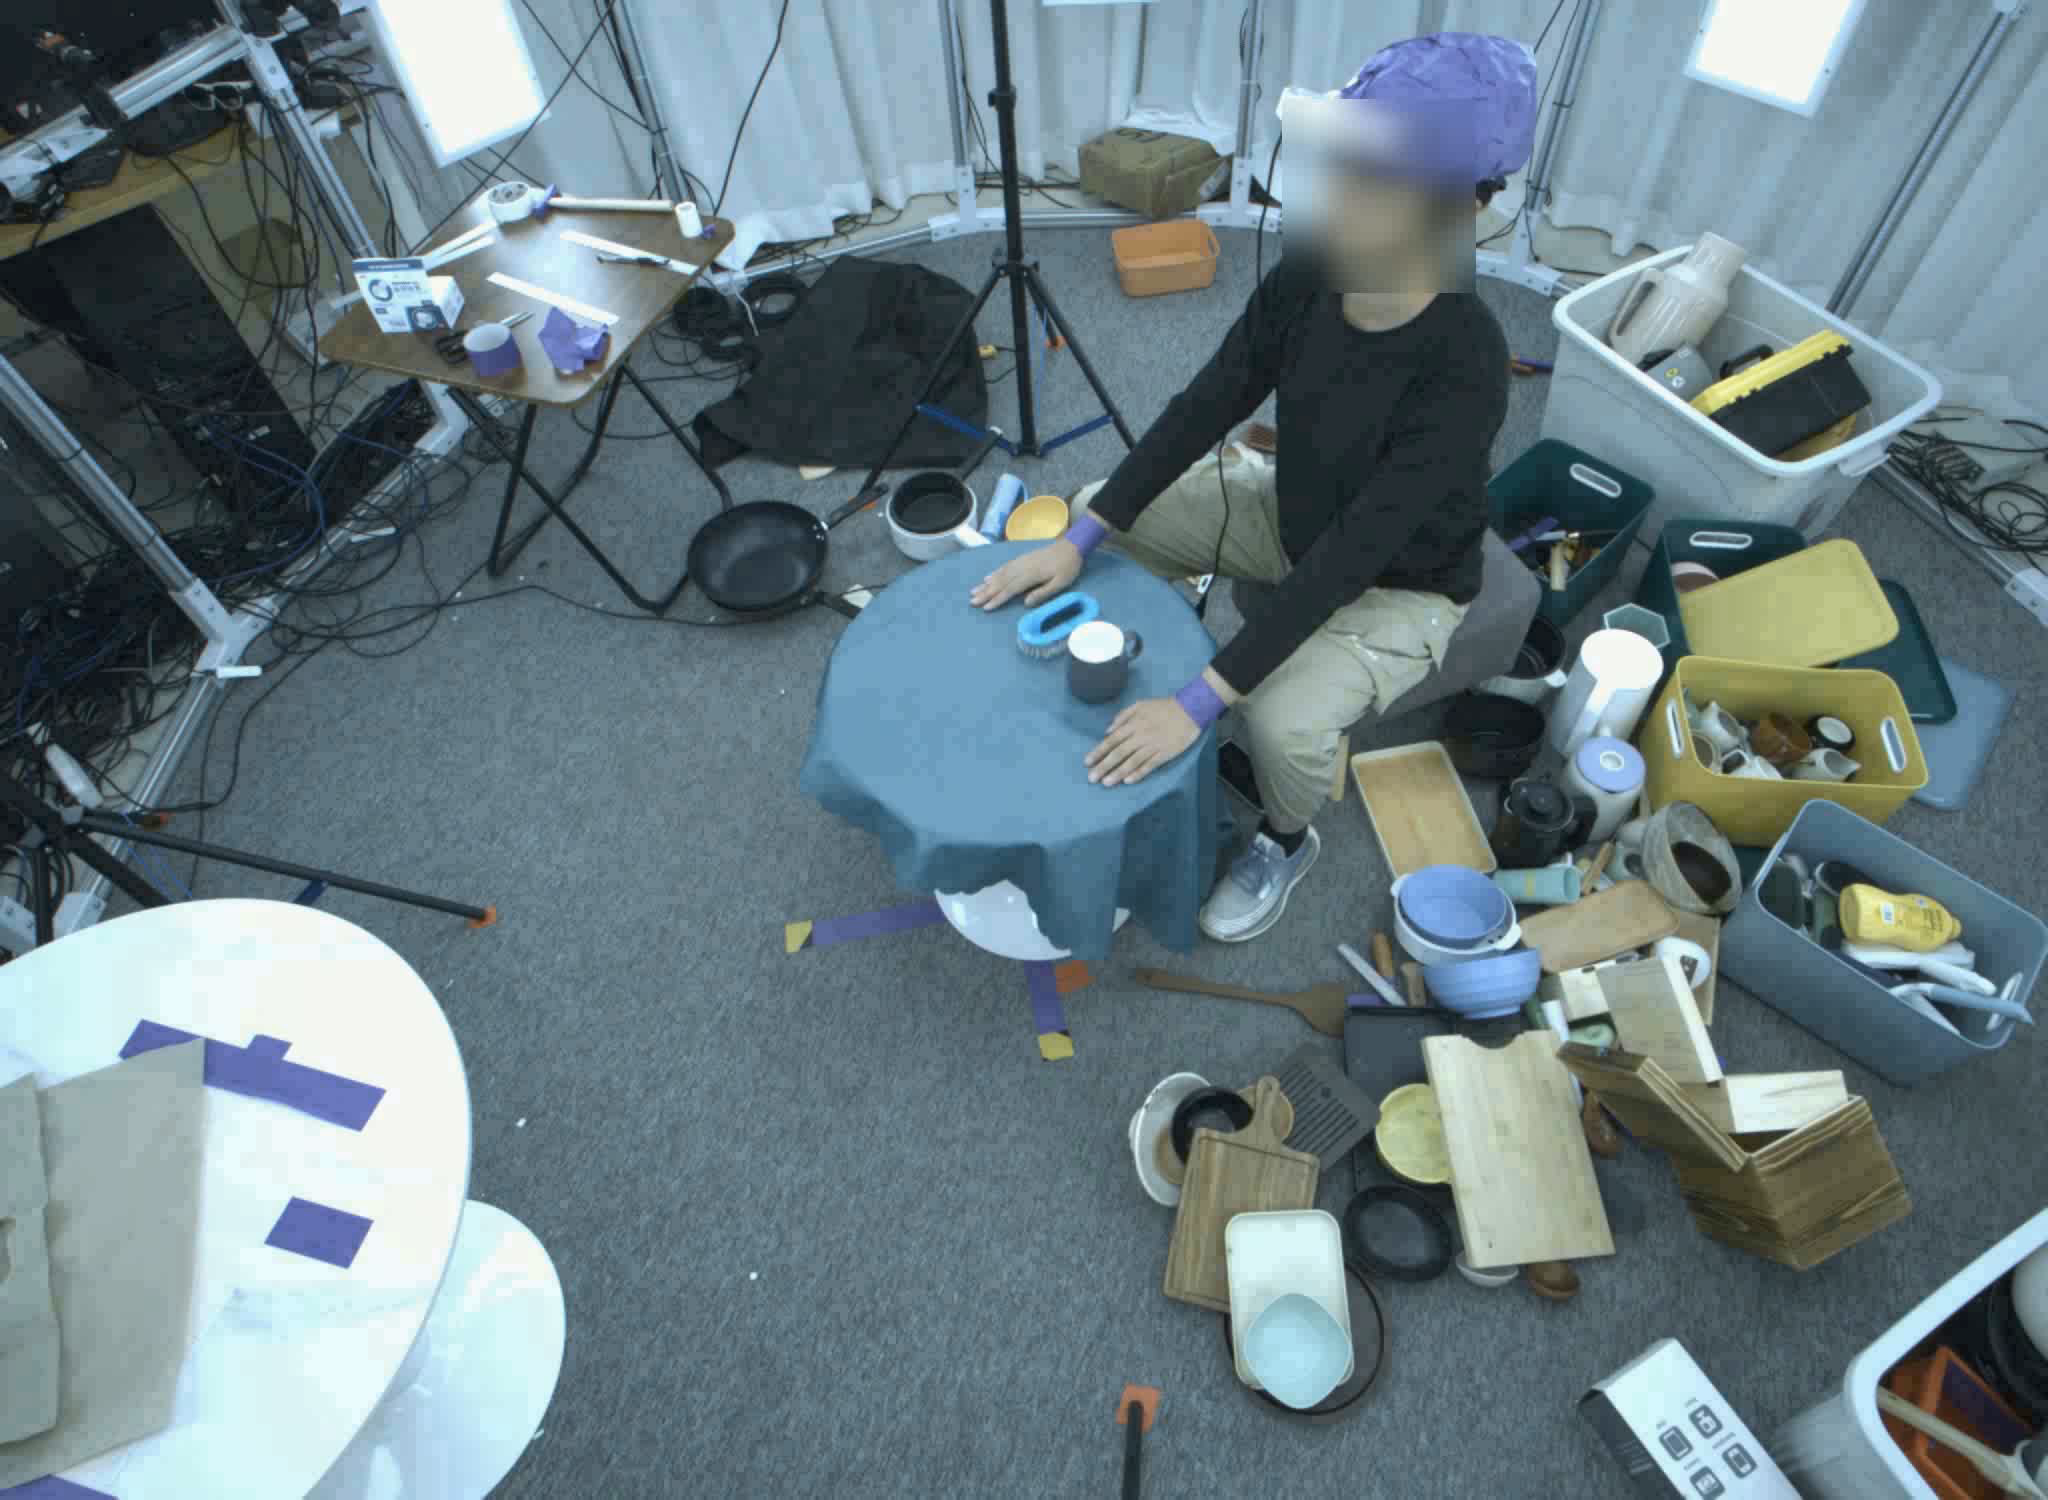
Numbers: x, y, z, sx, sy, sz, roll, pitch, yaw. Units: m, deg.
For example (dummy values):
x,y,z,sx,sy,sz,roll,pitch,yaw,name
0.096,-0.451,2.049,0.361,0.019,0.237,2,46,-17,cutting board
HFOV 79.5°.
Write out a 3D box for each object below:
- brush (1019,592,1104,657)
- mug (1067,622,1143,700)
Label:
x,y,z,sx,sy,sz,roll,pitch,yaw,name
0.055,-0.204,1.892,0.143,0.064,0.082,-28,53,-18,brush
0.122,-0.138,1.825,0.124,0.091,0.092,-25,58,-12,mug
